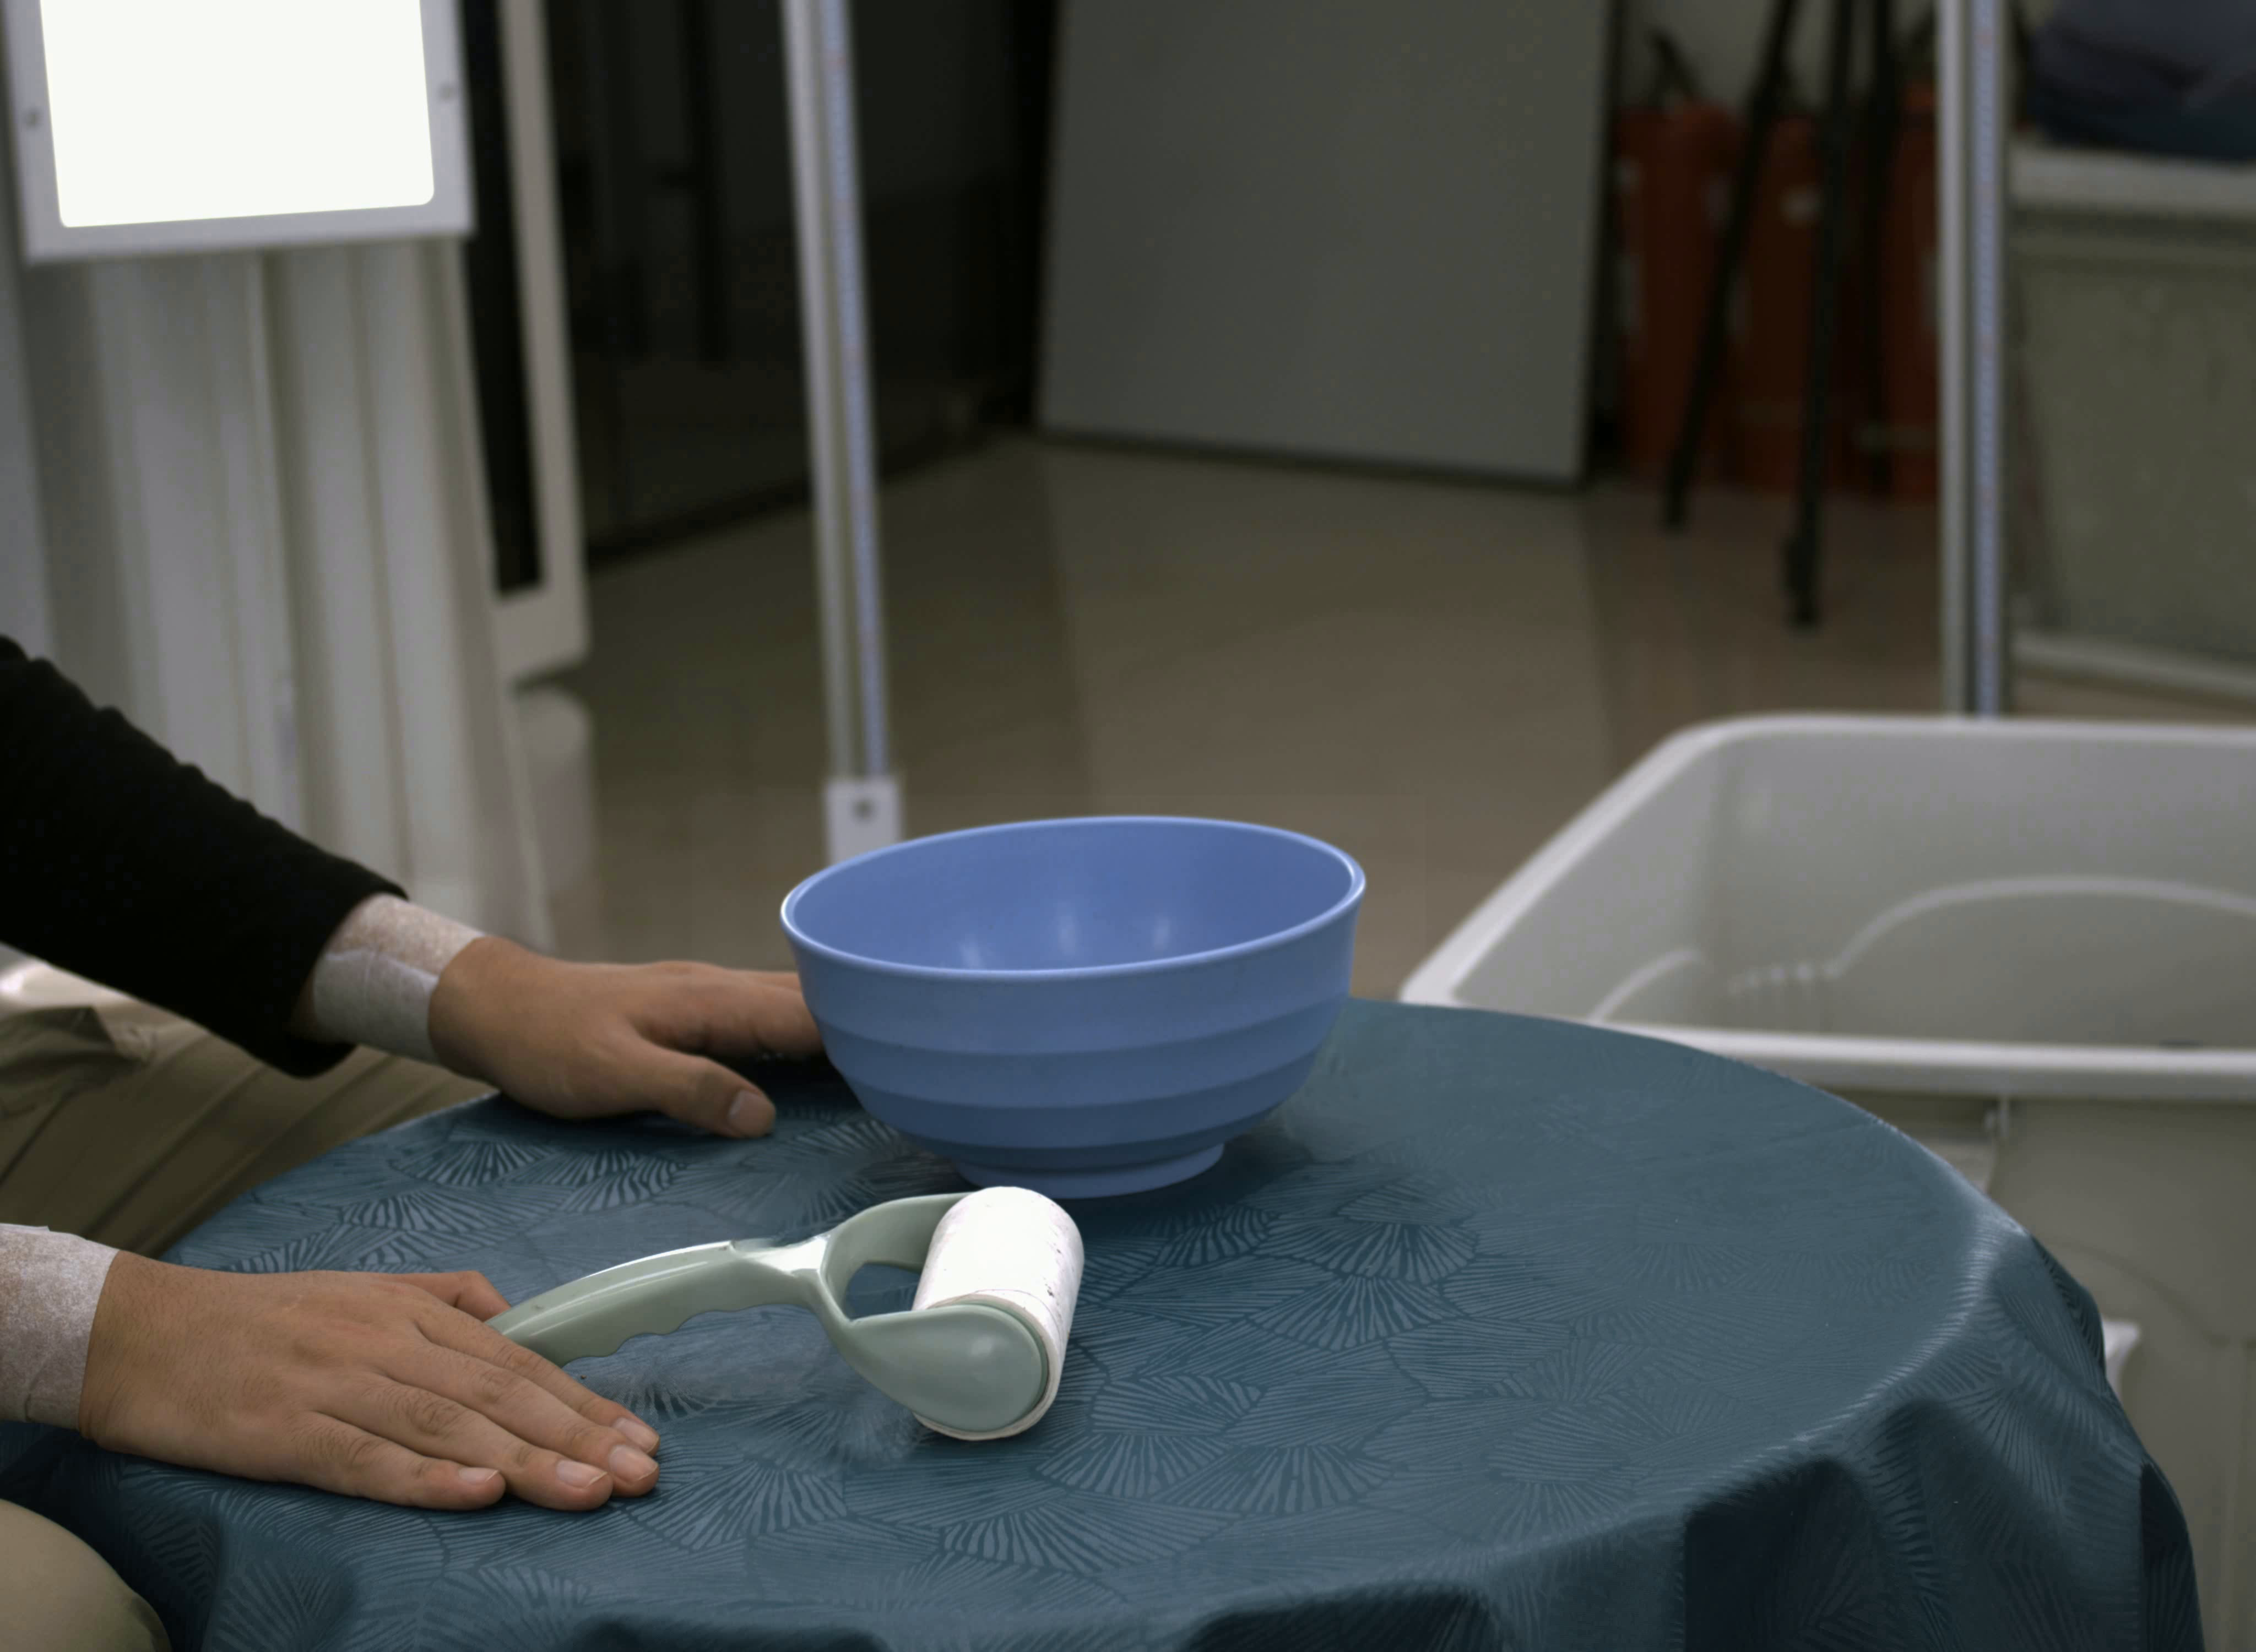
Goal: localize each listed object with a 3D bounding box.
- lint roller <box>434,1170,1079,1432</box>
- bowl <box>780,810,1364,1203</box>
[{"bbox_3d":[-0.111,0.146,1.609,0.195,0.049,0.116,-5,15,6],"label":"lint roller"},{"bbox_3d":[-0.015,0.066,1.797,0.194,0.096,0.197,-4,15,0],"label":"bowl"}]
